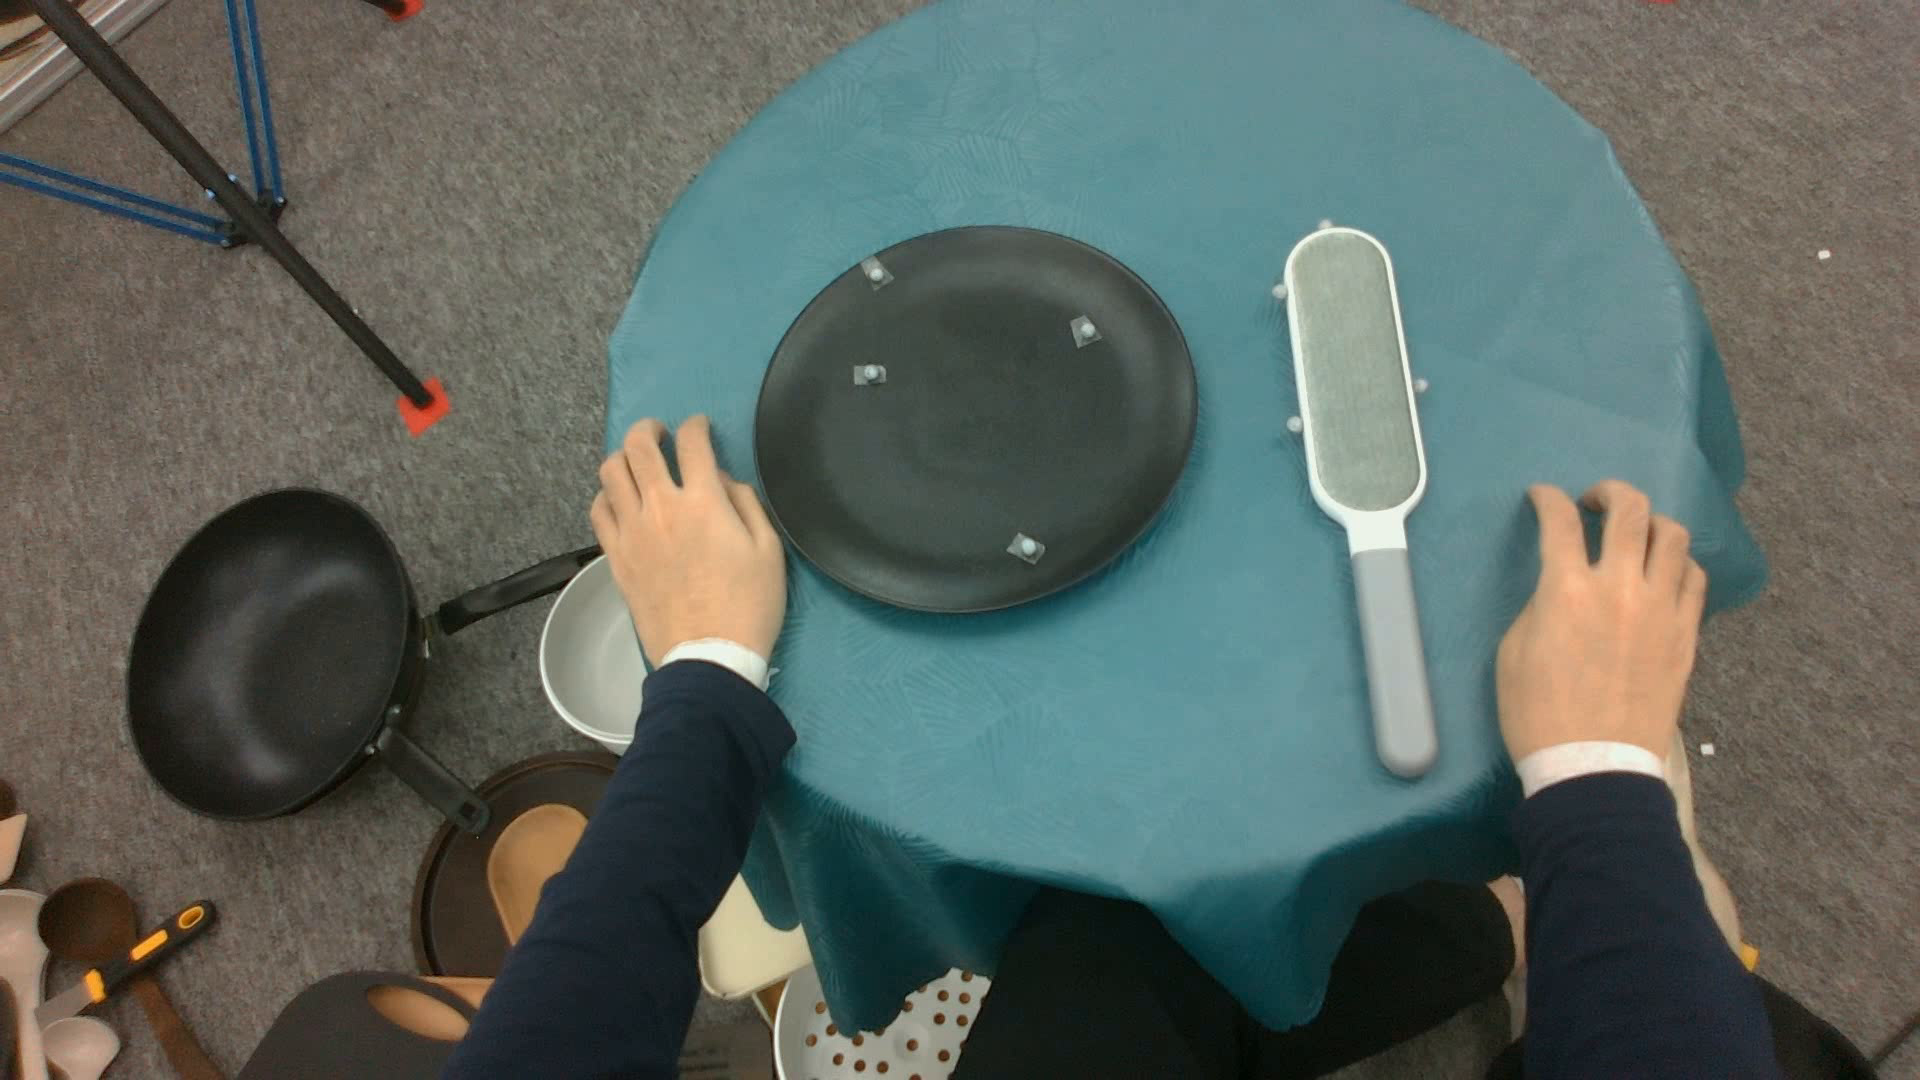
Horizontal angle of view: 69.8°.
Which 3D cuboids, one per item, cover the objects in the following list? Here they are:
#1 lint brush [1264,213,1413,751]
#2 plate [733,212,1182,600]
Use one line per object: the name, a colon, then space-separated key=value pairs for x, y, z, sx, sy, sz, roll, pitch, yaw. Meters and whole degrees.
lint brush: x=0.195 y=-0.042 z=0.703 sx=0.060 sy=0.021 sz=0.310 roll=-1 pitch=63 yaw=2
plate: x=-0.002 y=-0.076 z=0.749 sx=0.244 sy=0.023 sz=0.245 roll=-3 pitch=63 yaw=6
